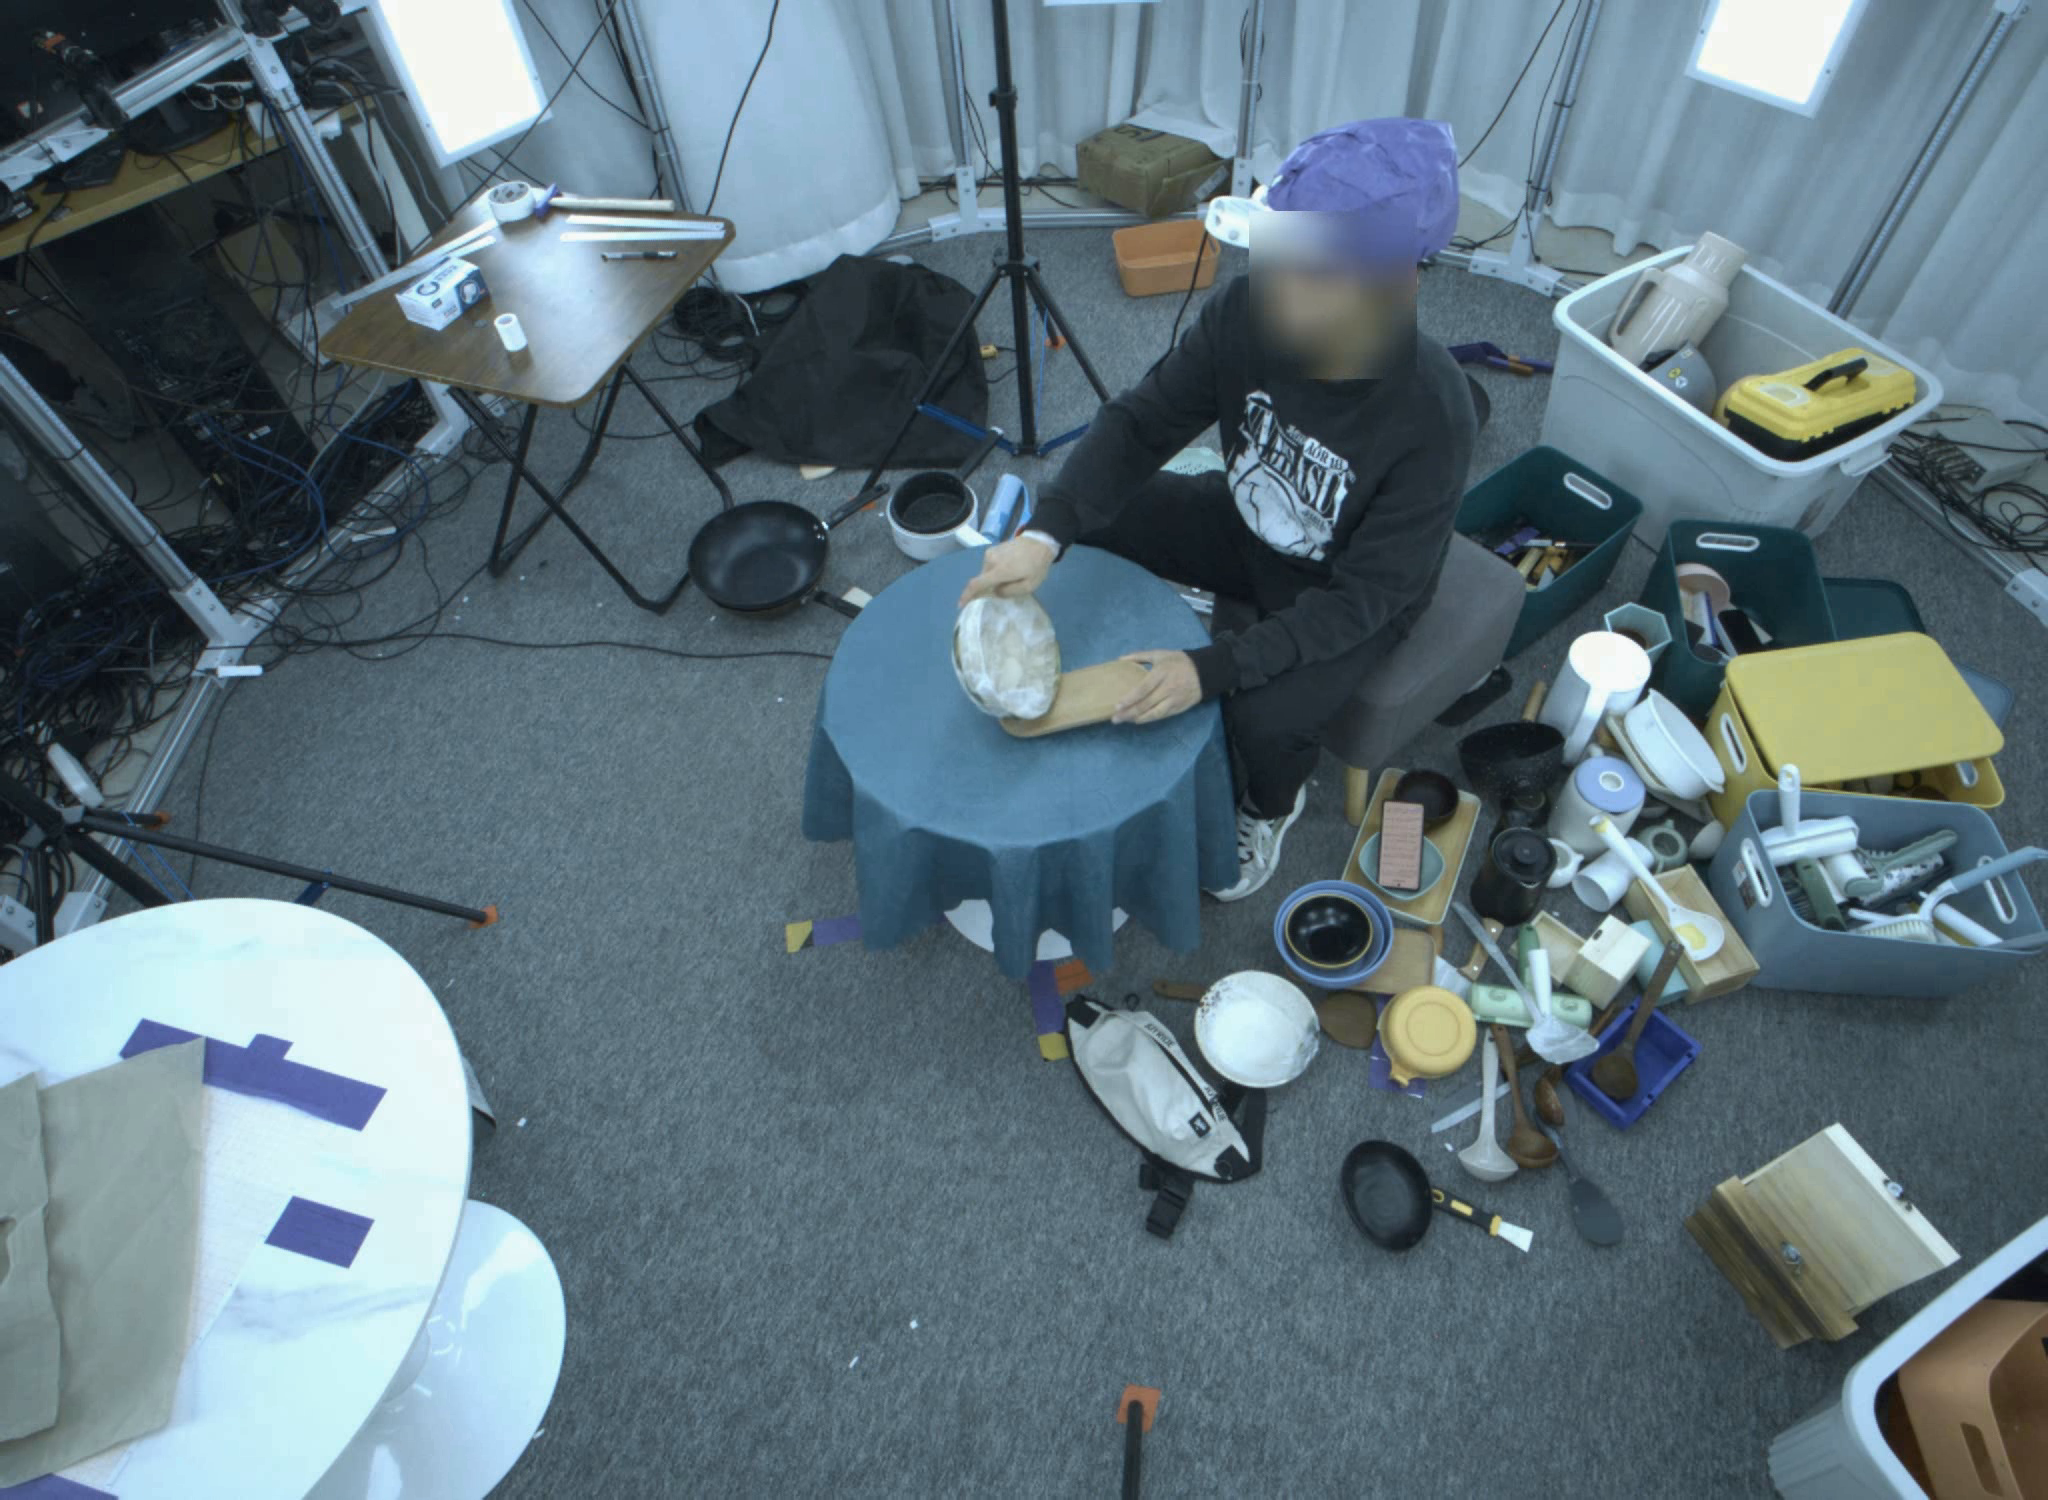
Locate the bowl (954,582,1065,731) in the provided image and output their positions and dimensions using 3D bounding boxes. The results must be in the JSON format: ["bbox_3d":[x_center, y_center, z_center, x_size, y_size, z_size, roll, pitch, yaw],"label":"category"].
[{"bbox_3d":[-0.034,-0.128,1.766,0.093,0.219,0.214,-9,50,33],"label":"bowl"}]

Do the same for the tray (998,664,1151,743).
[{"bbox_3d":[0.074,-0.068,1.810,0.230,0.020,0.100,-15,49,6],"label":"tray"}]
